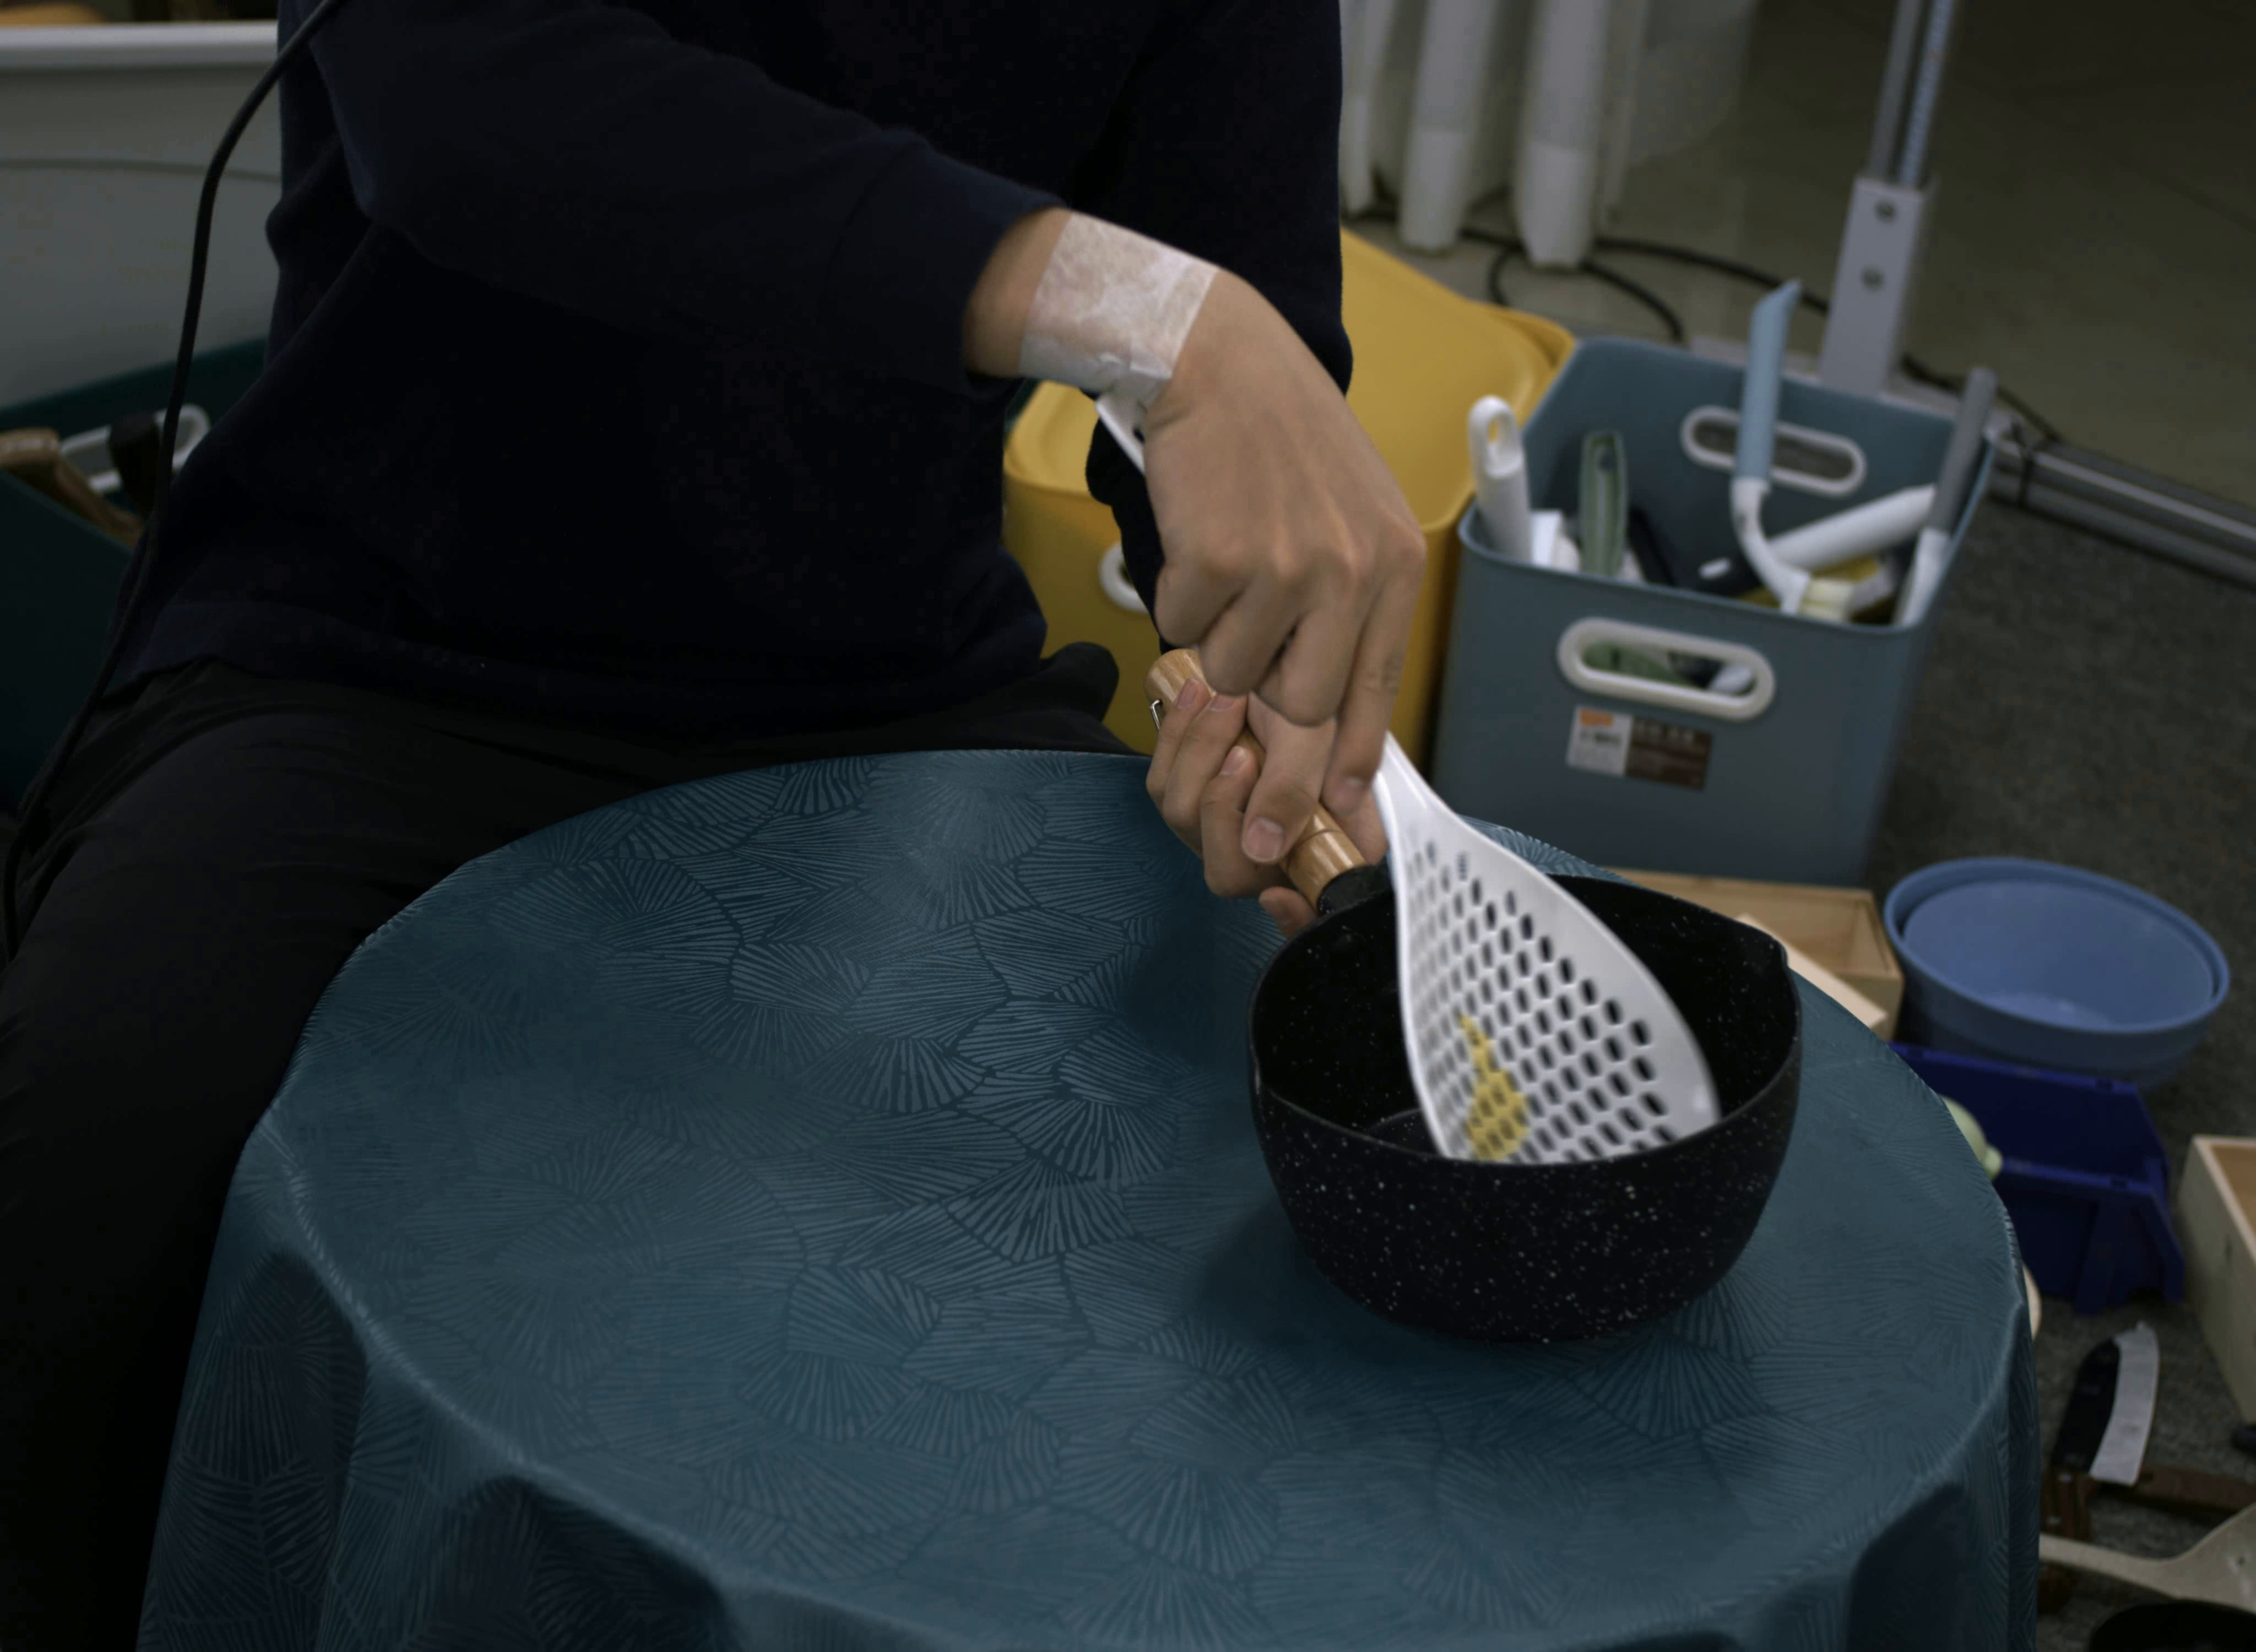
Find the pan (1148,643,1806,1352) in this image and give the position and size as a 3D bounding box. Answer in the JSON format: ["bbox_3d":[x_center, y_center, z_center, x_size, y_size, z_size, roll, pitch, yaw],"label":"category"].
[{"bbox_3d":[0.093,0.054,1.828,0.206,0.108,0.346,-17,34,-23],"label":"pan"}]

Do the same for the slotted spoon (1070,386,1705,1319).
[{"bbox_3d":[0.081,0.003,1.732,0.050,0.347,0.137,-14,19,42],"label":"slotted spoon"}]
